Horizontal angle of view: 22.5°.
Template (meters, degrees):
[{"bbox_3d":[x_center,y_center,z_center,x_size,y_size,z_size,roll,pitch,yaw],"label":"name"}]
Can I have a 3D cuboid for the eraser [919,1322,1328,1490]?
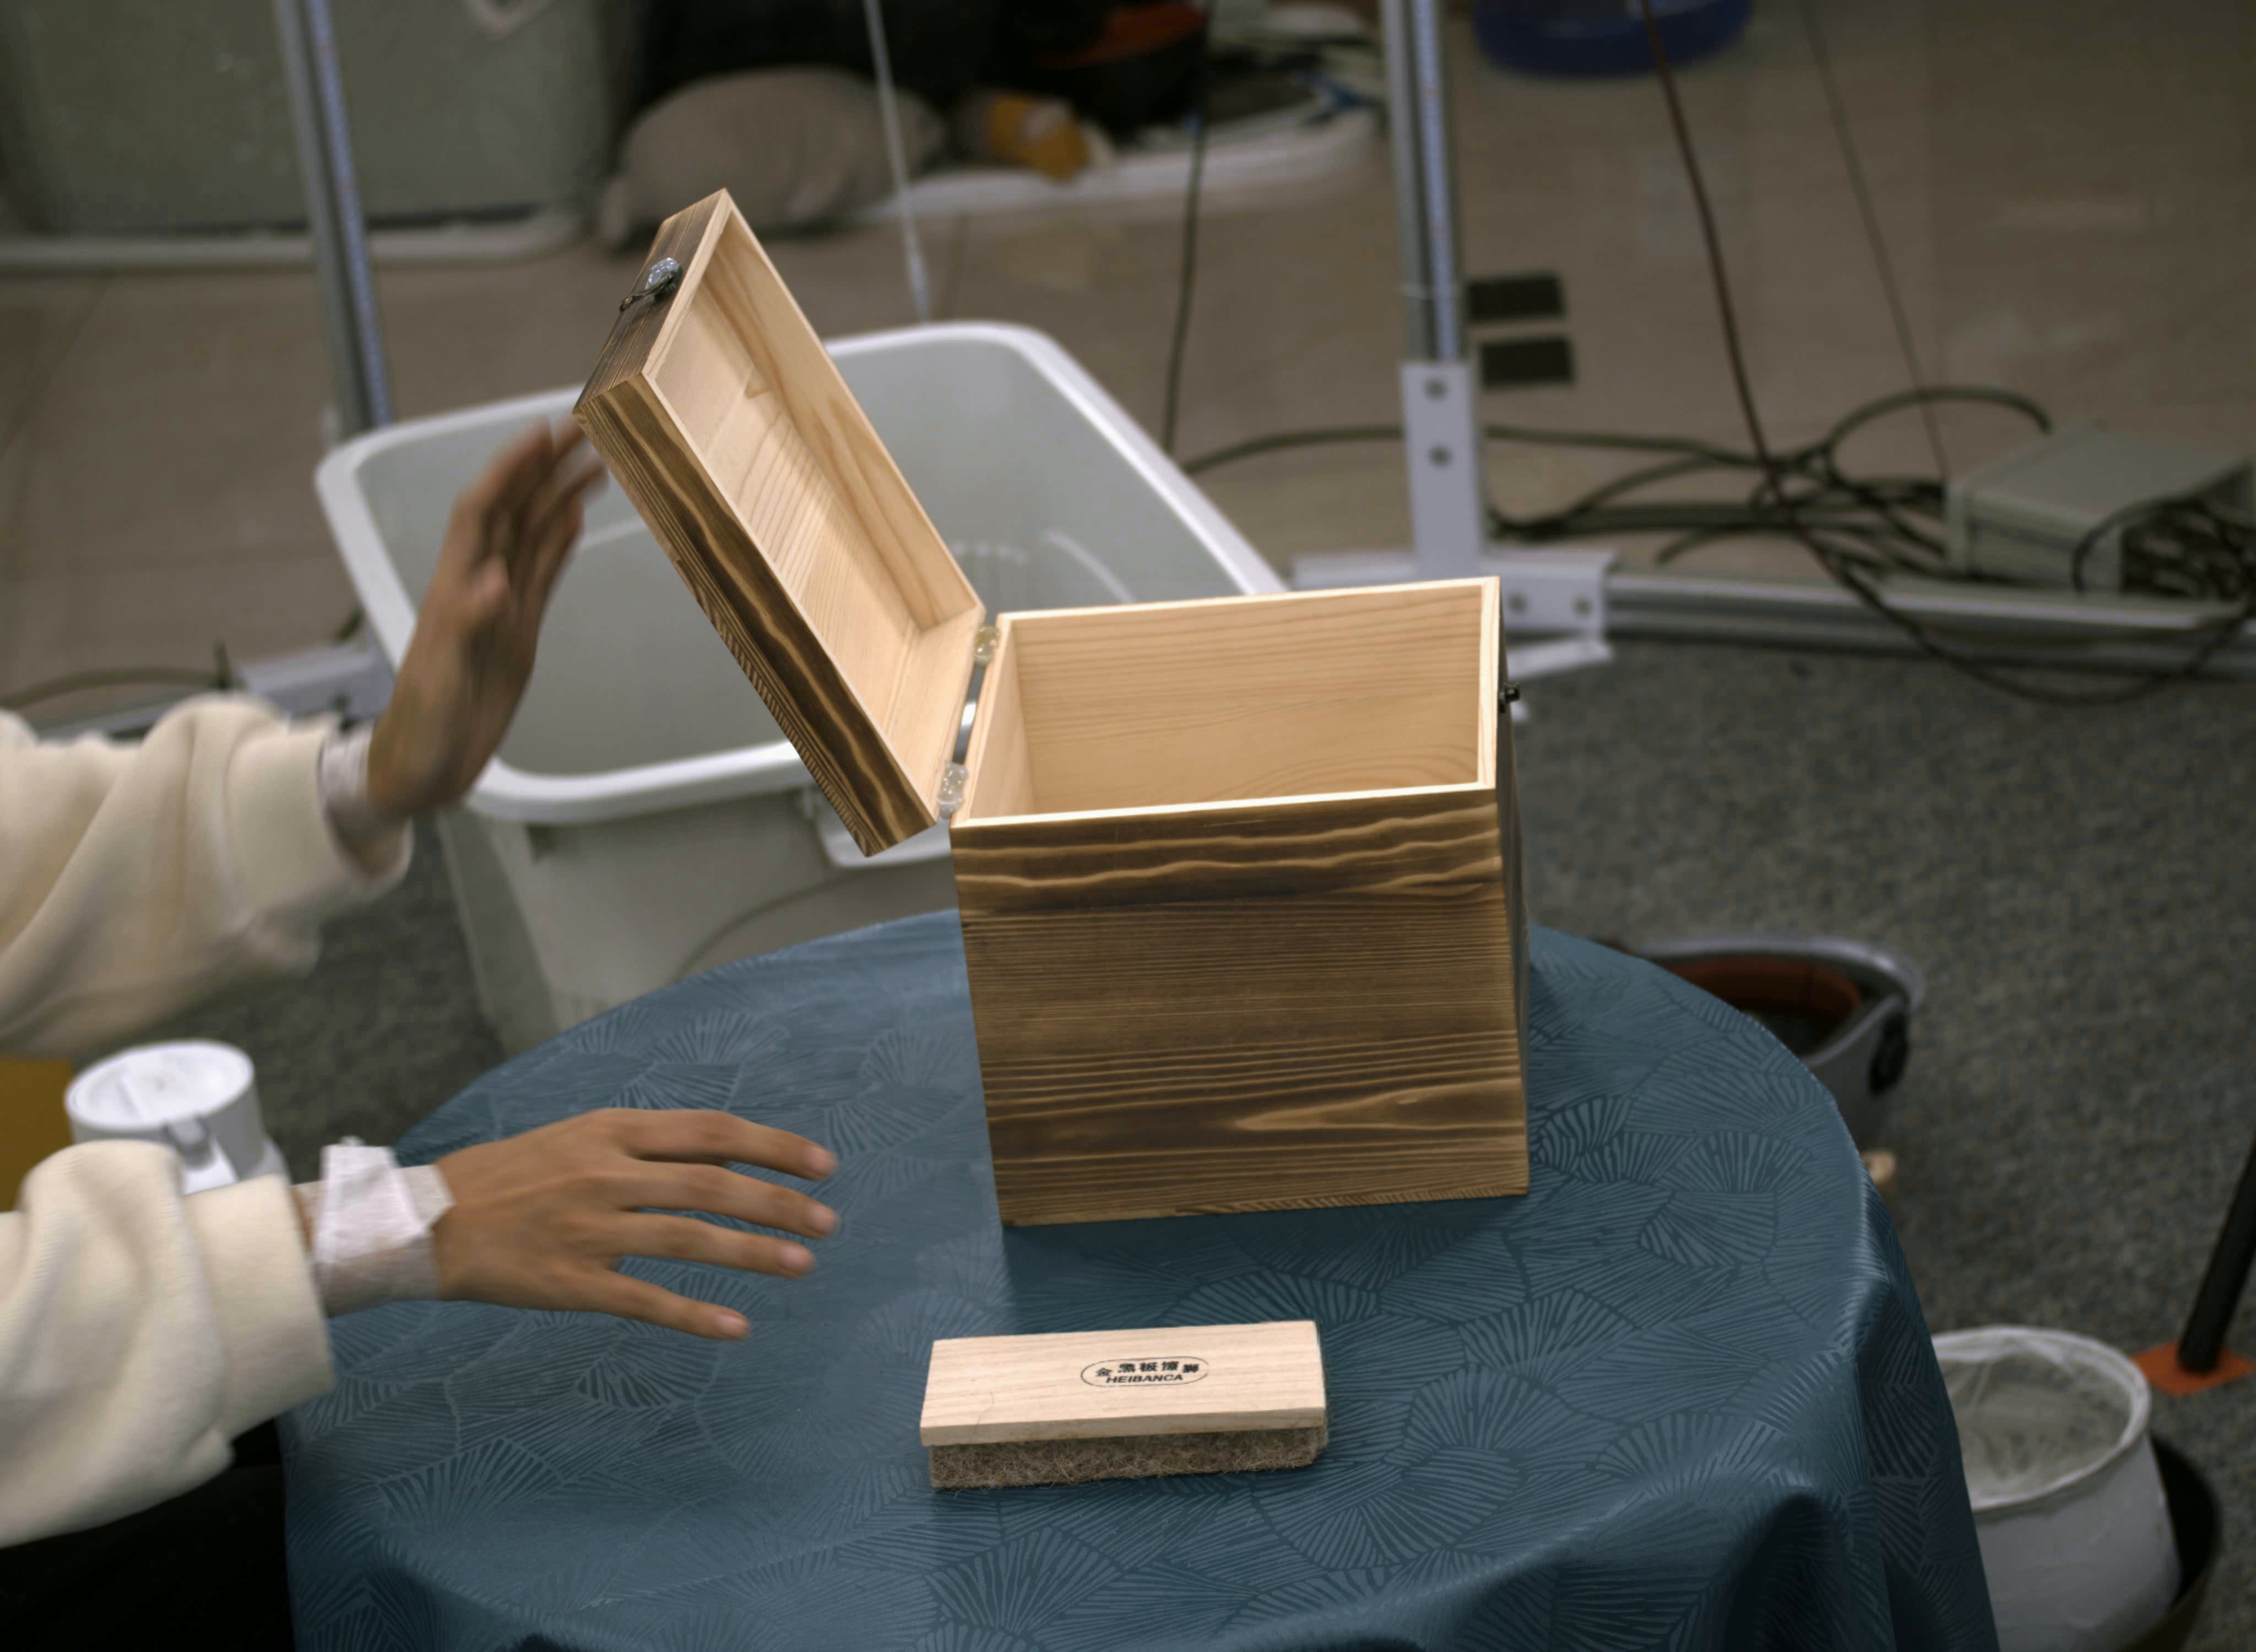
[{"bbox_3d":[0.000,0.202,1.979,0.139,0.029,0.056,-4,29,8],"label":"eraser"}]

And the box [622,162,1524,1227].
[{"bbox_3d":[-0.012,-0.056,2.133,0.321,0.381,0.205,-4,27,5],"label":"box"}]
